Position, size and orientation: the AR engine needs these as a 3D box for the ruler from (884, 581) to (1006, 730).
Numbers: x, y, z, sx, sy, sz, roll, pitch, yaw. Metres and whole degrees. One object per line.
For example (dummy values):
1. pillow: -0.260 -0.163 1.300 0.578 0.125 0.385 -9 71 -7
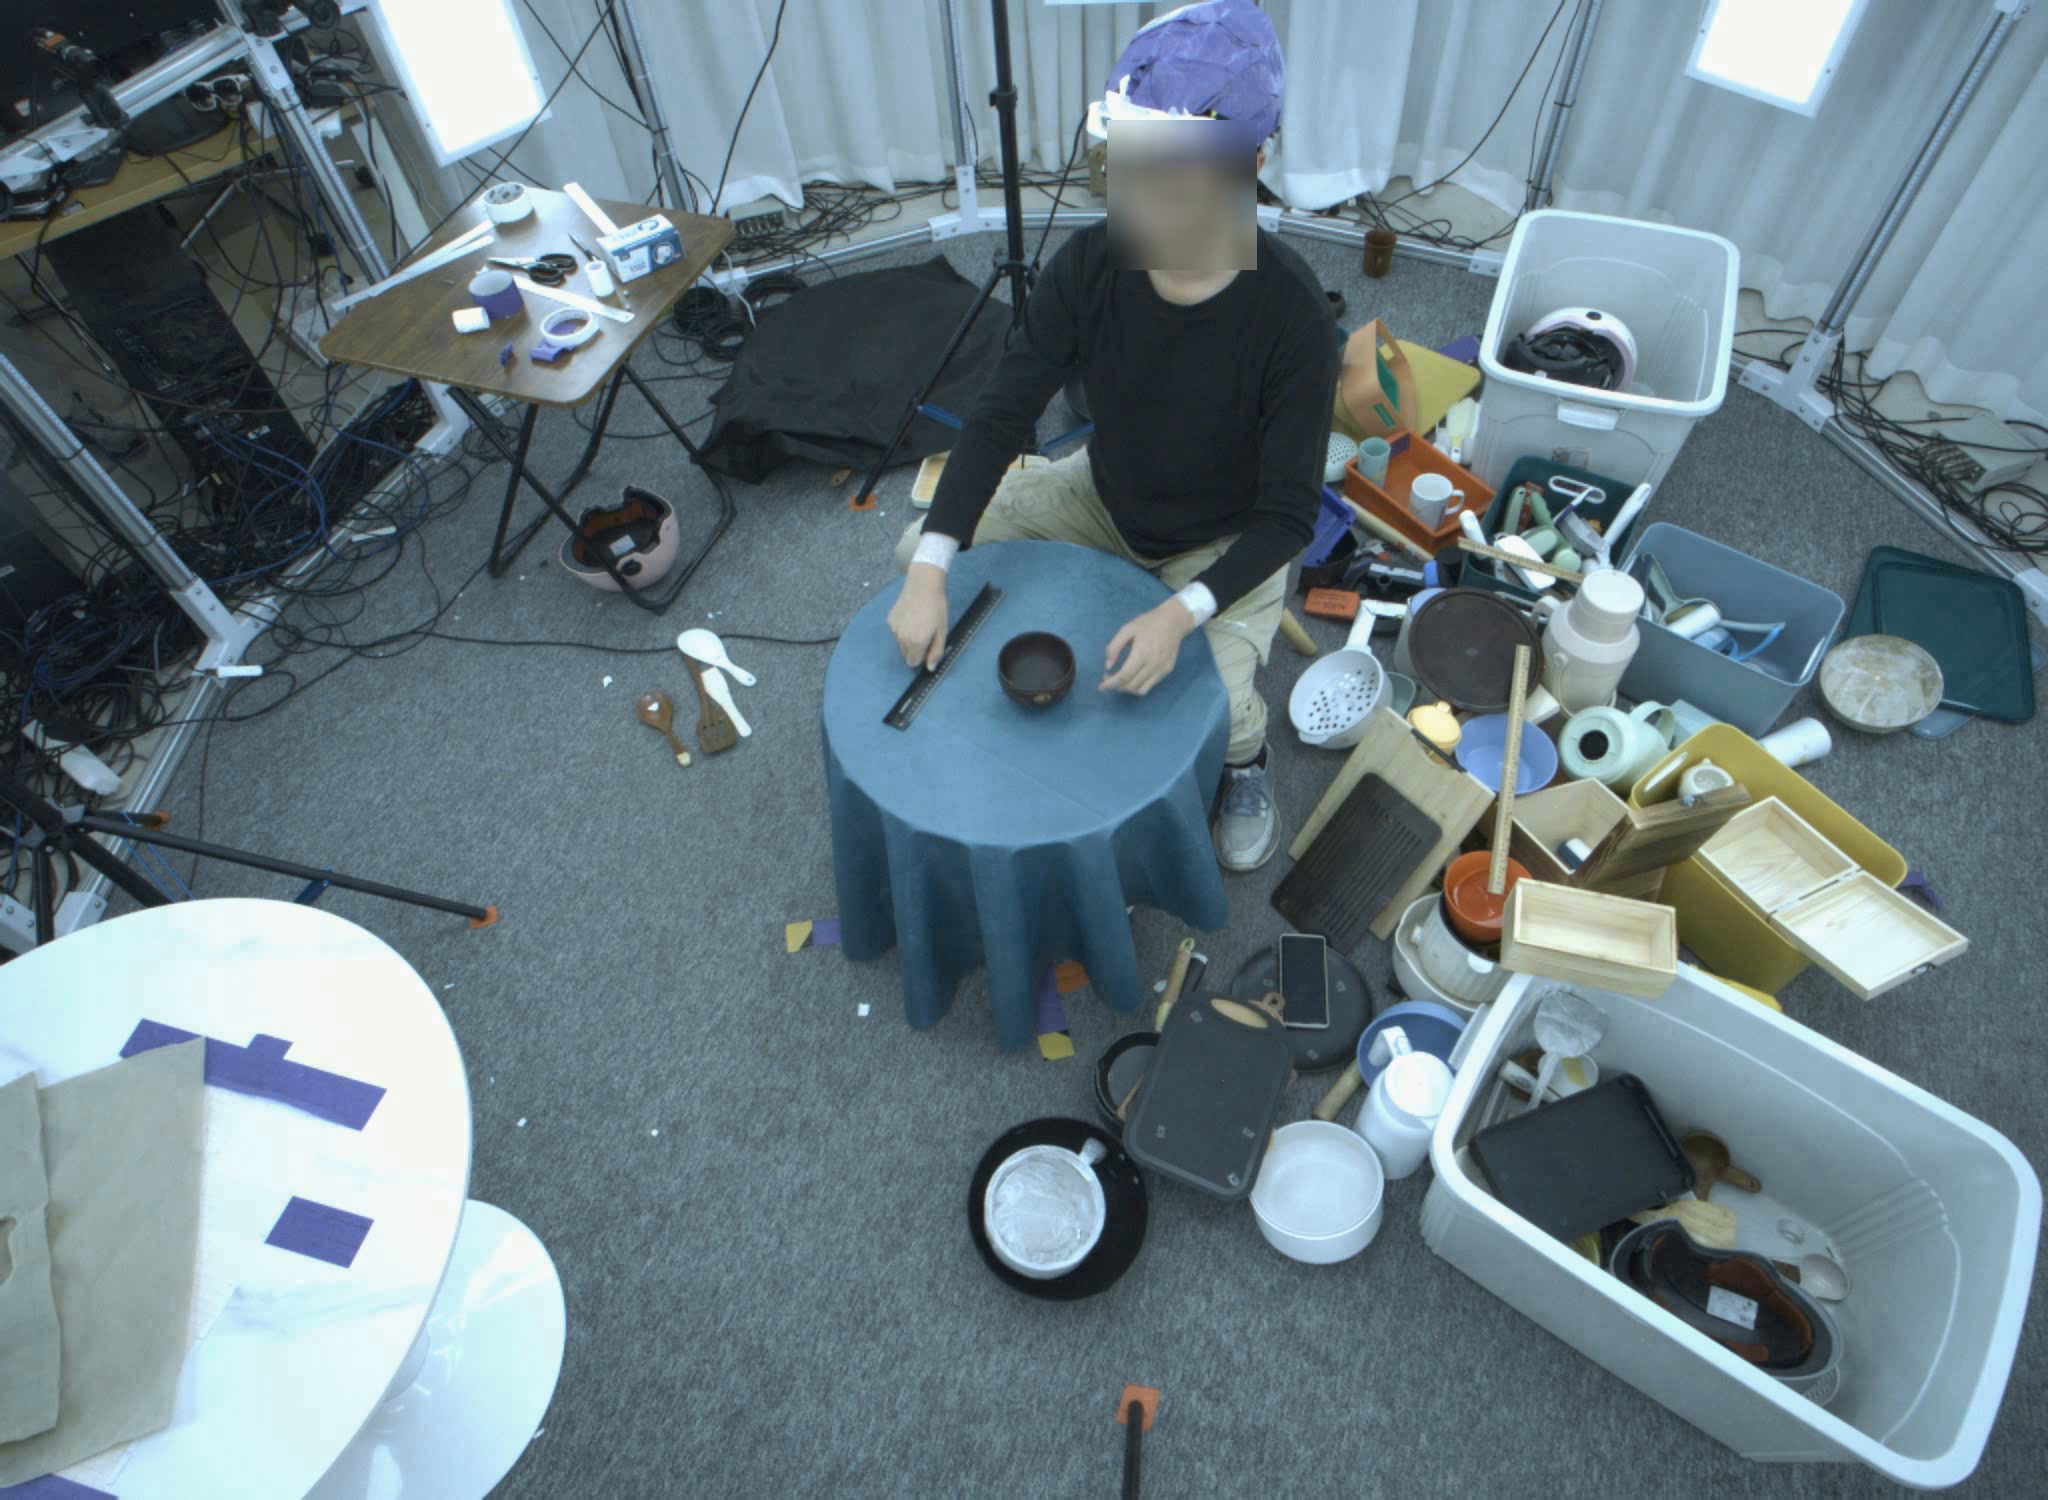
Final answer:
1. ruler: -0.119 -0.151 1.889 0.039 0.017 0.313 25 59 14

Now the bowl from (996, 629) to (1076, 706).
1. bowl: 0.019 -0.114 1.823 0.118 0.070 0.117 0 56 2
